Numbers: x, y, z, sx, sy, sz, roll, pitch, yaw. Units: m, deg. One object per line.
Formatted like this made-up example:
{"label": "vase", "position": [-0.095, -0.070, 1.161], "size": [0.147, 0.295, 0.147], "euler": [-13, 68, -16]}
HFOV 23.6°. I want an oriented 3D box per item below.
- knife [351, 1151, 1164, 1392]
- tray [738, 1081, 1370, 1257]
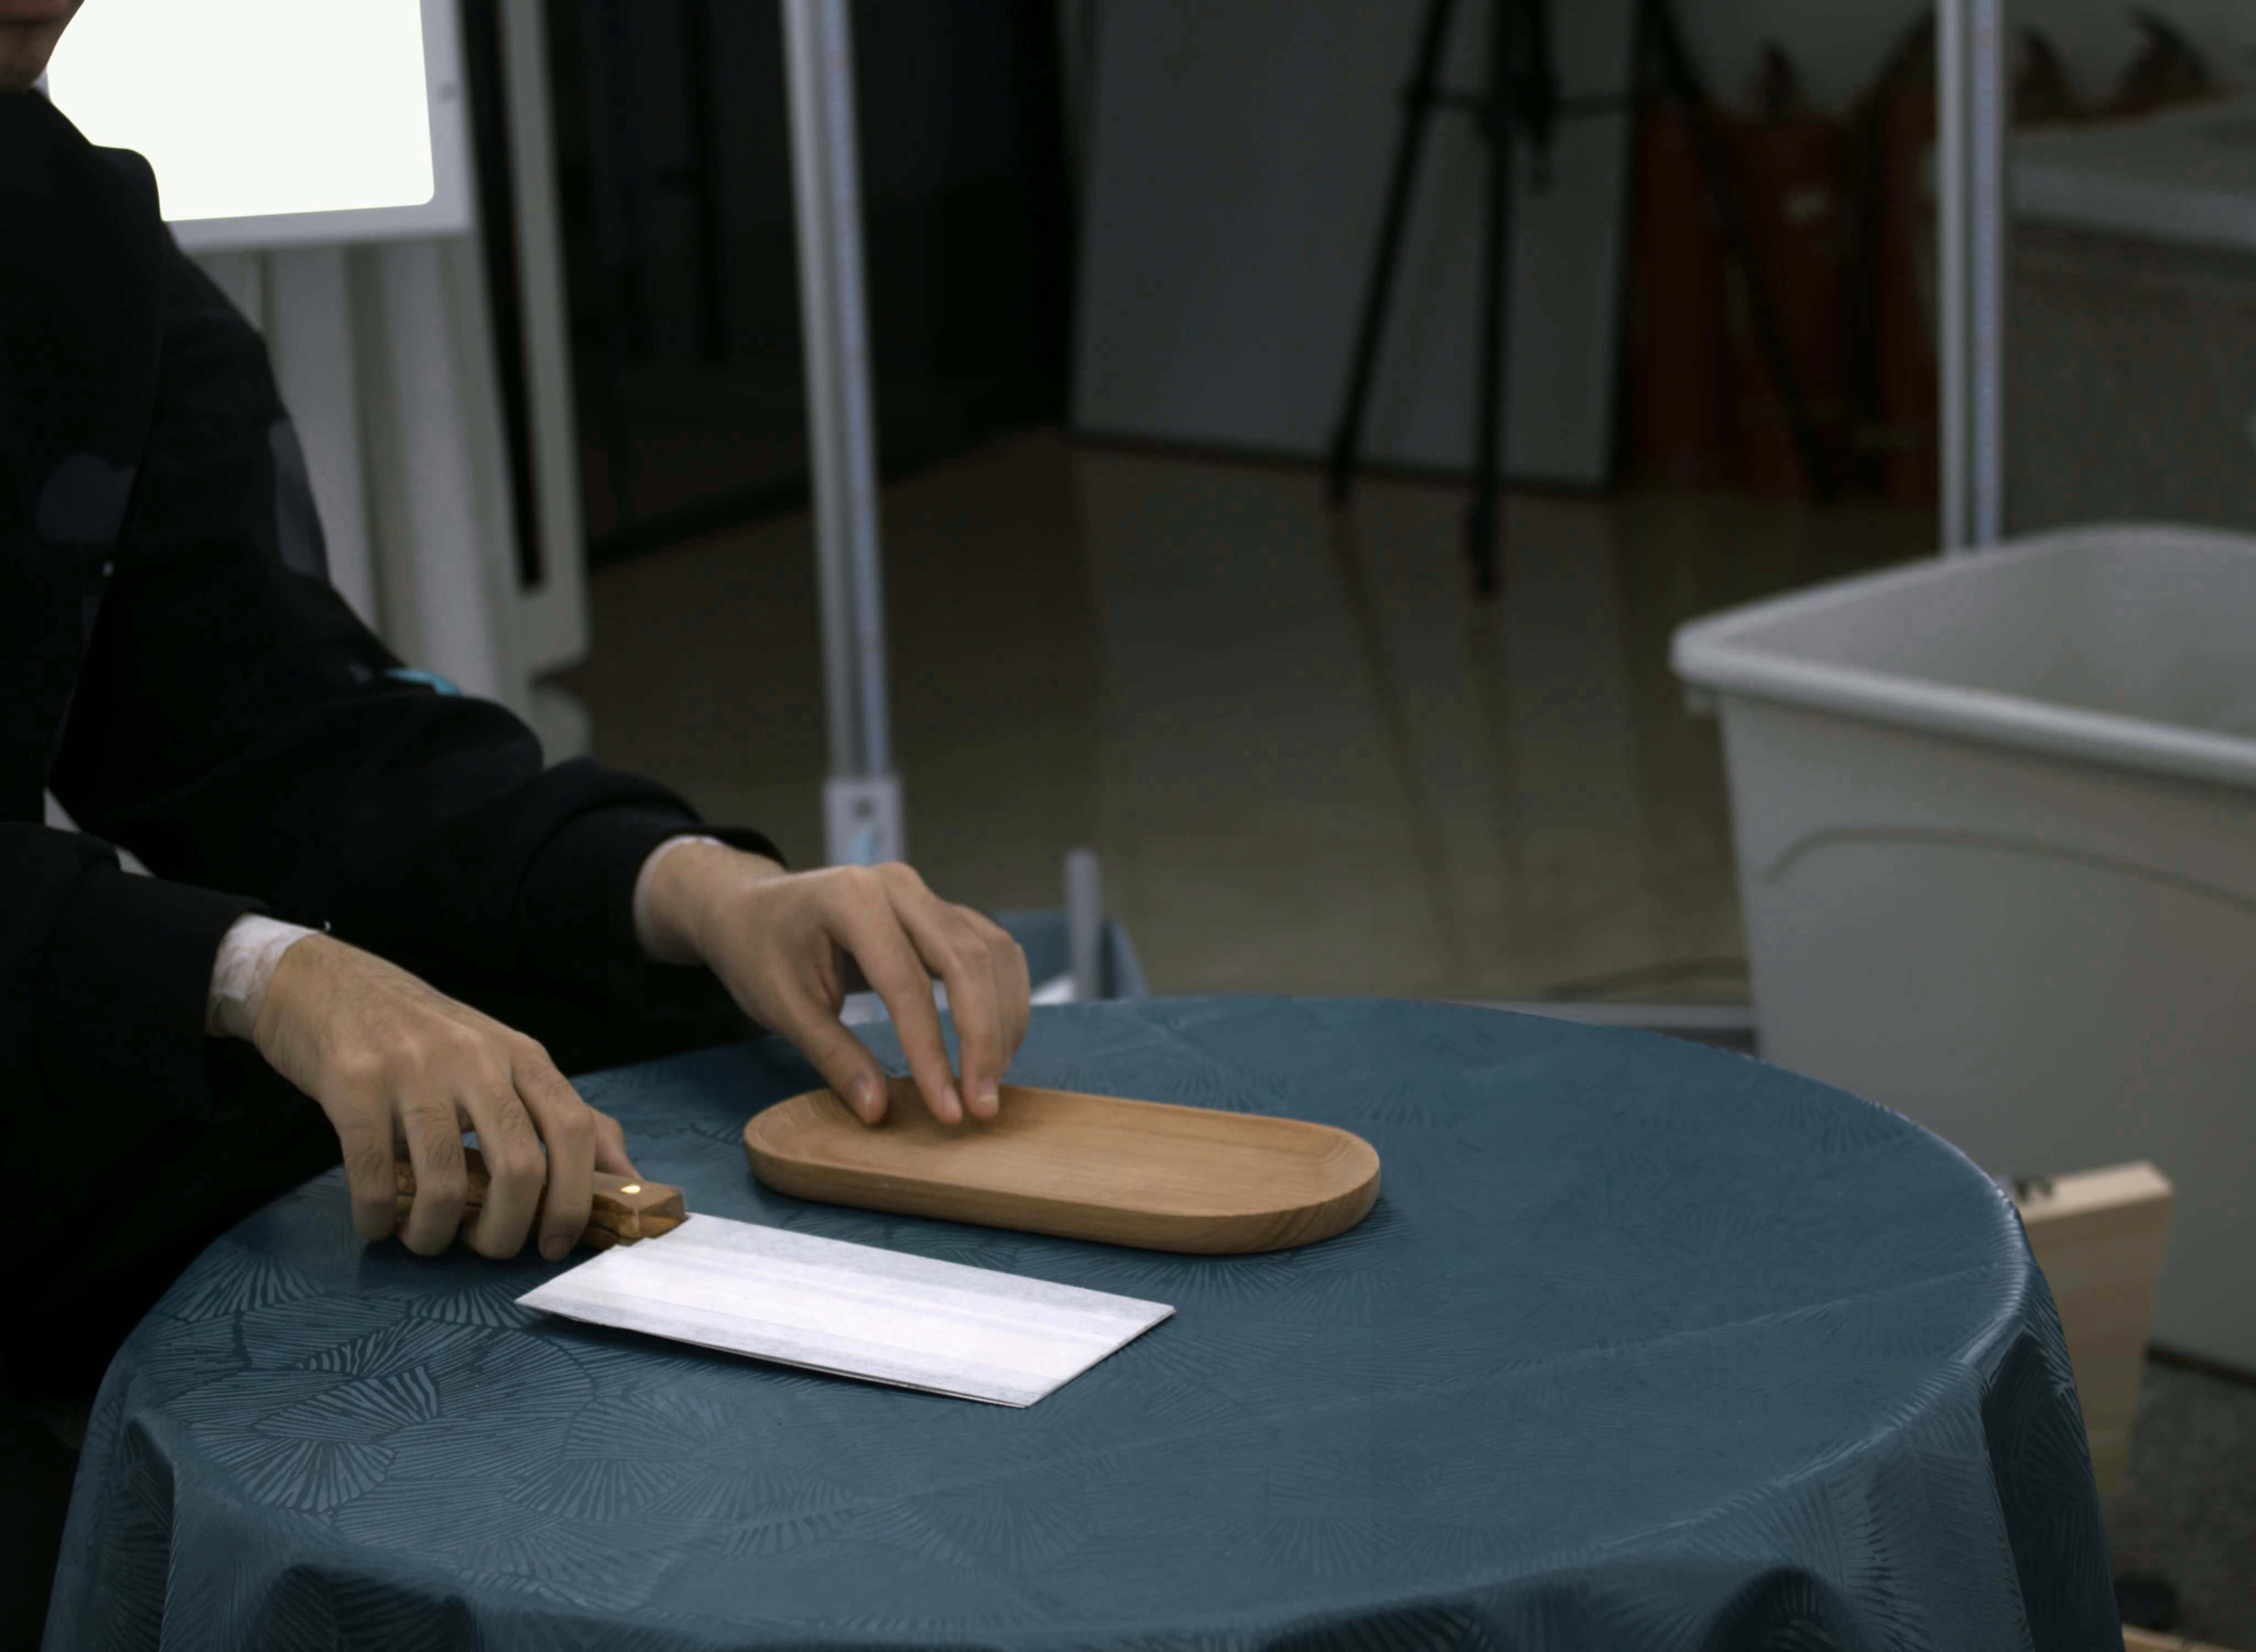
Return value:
{"label": "knife", "position": [-0.135, 0.142, 1.694], "size": [0.307, 0.021, 0.091], "euler": [7, 19, 32]}
{"label": "tray", "position": [-0.026, 0.112, 1.779], "size": [0.232, 0.020, 0.100], "euler": [4, 15, 33]}
